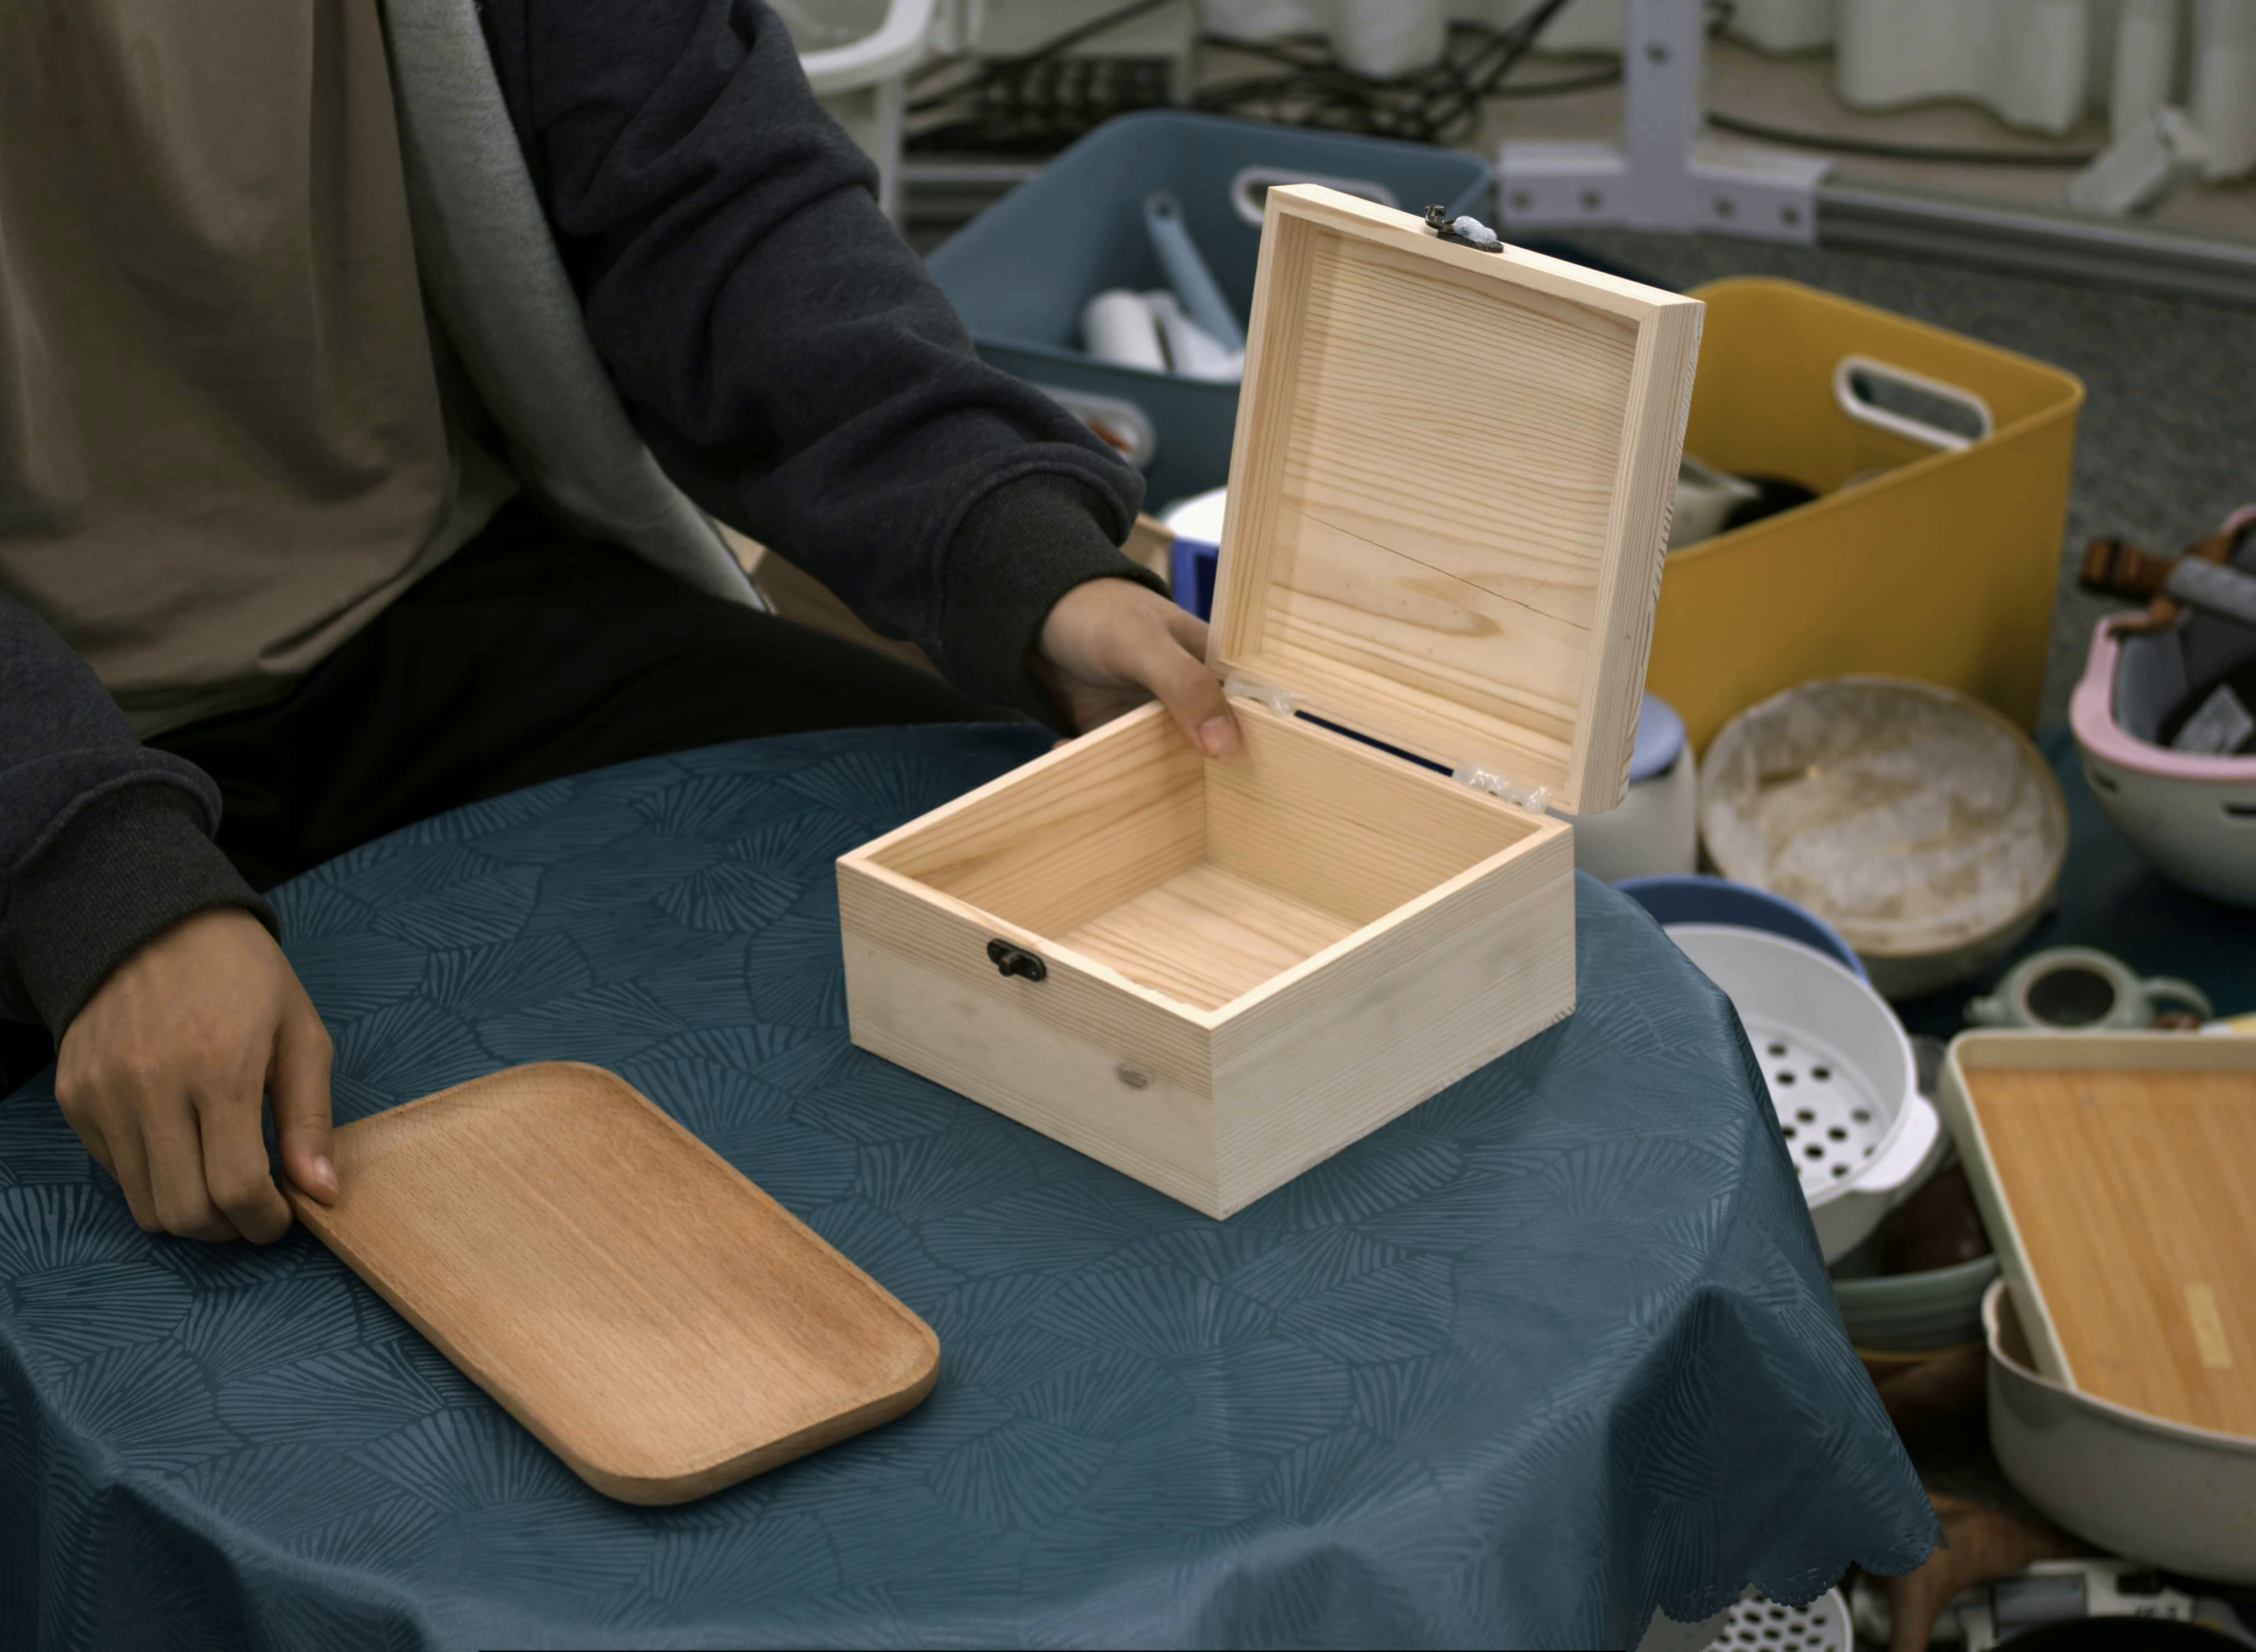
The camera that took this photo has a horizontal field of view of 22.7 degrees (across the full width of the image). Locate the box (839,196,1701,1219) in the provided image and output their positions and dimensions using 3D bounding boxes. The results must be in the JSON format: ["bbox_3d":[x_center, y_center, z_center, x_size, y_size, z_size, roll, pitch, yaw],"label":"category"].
[{"bbox_3d":[0.047,-0.050,1.928,0.181,0.251,0.268,18,32,41],"label":"box"}]

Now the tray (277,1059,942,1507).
[{"bbox_3d":[-0.170,0.145,1.812,0.131,0.022,0.251,-16,30,-31],"label":"tray"}]
